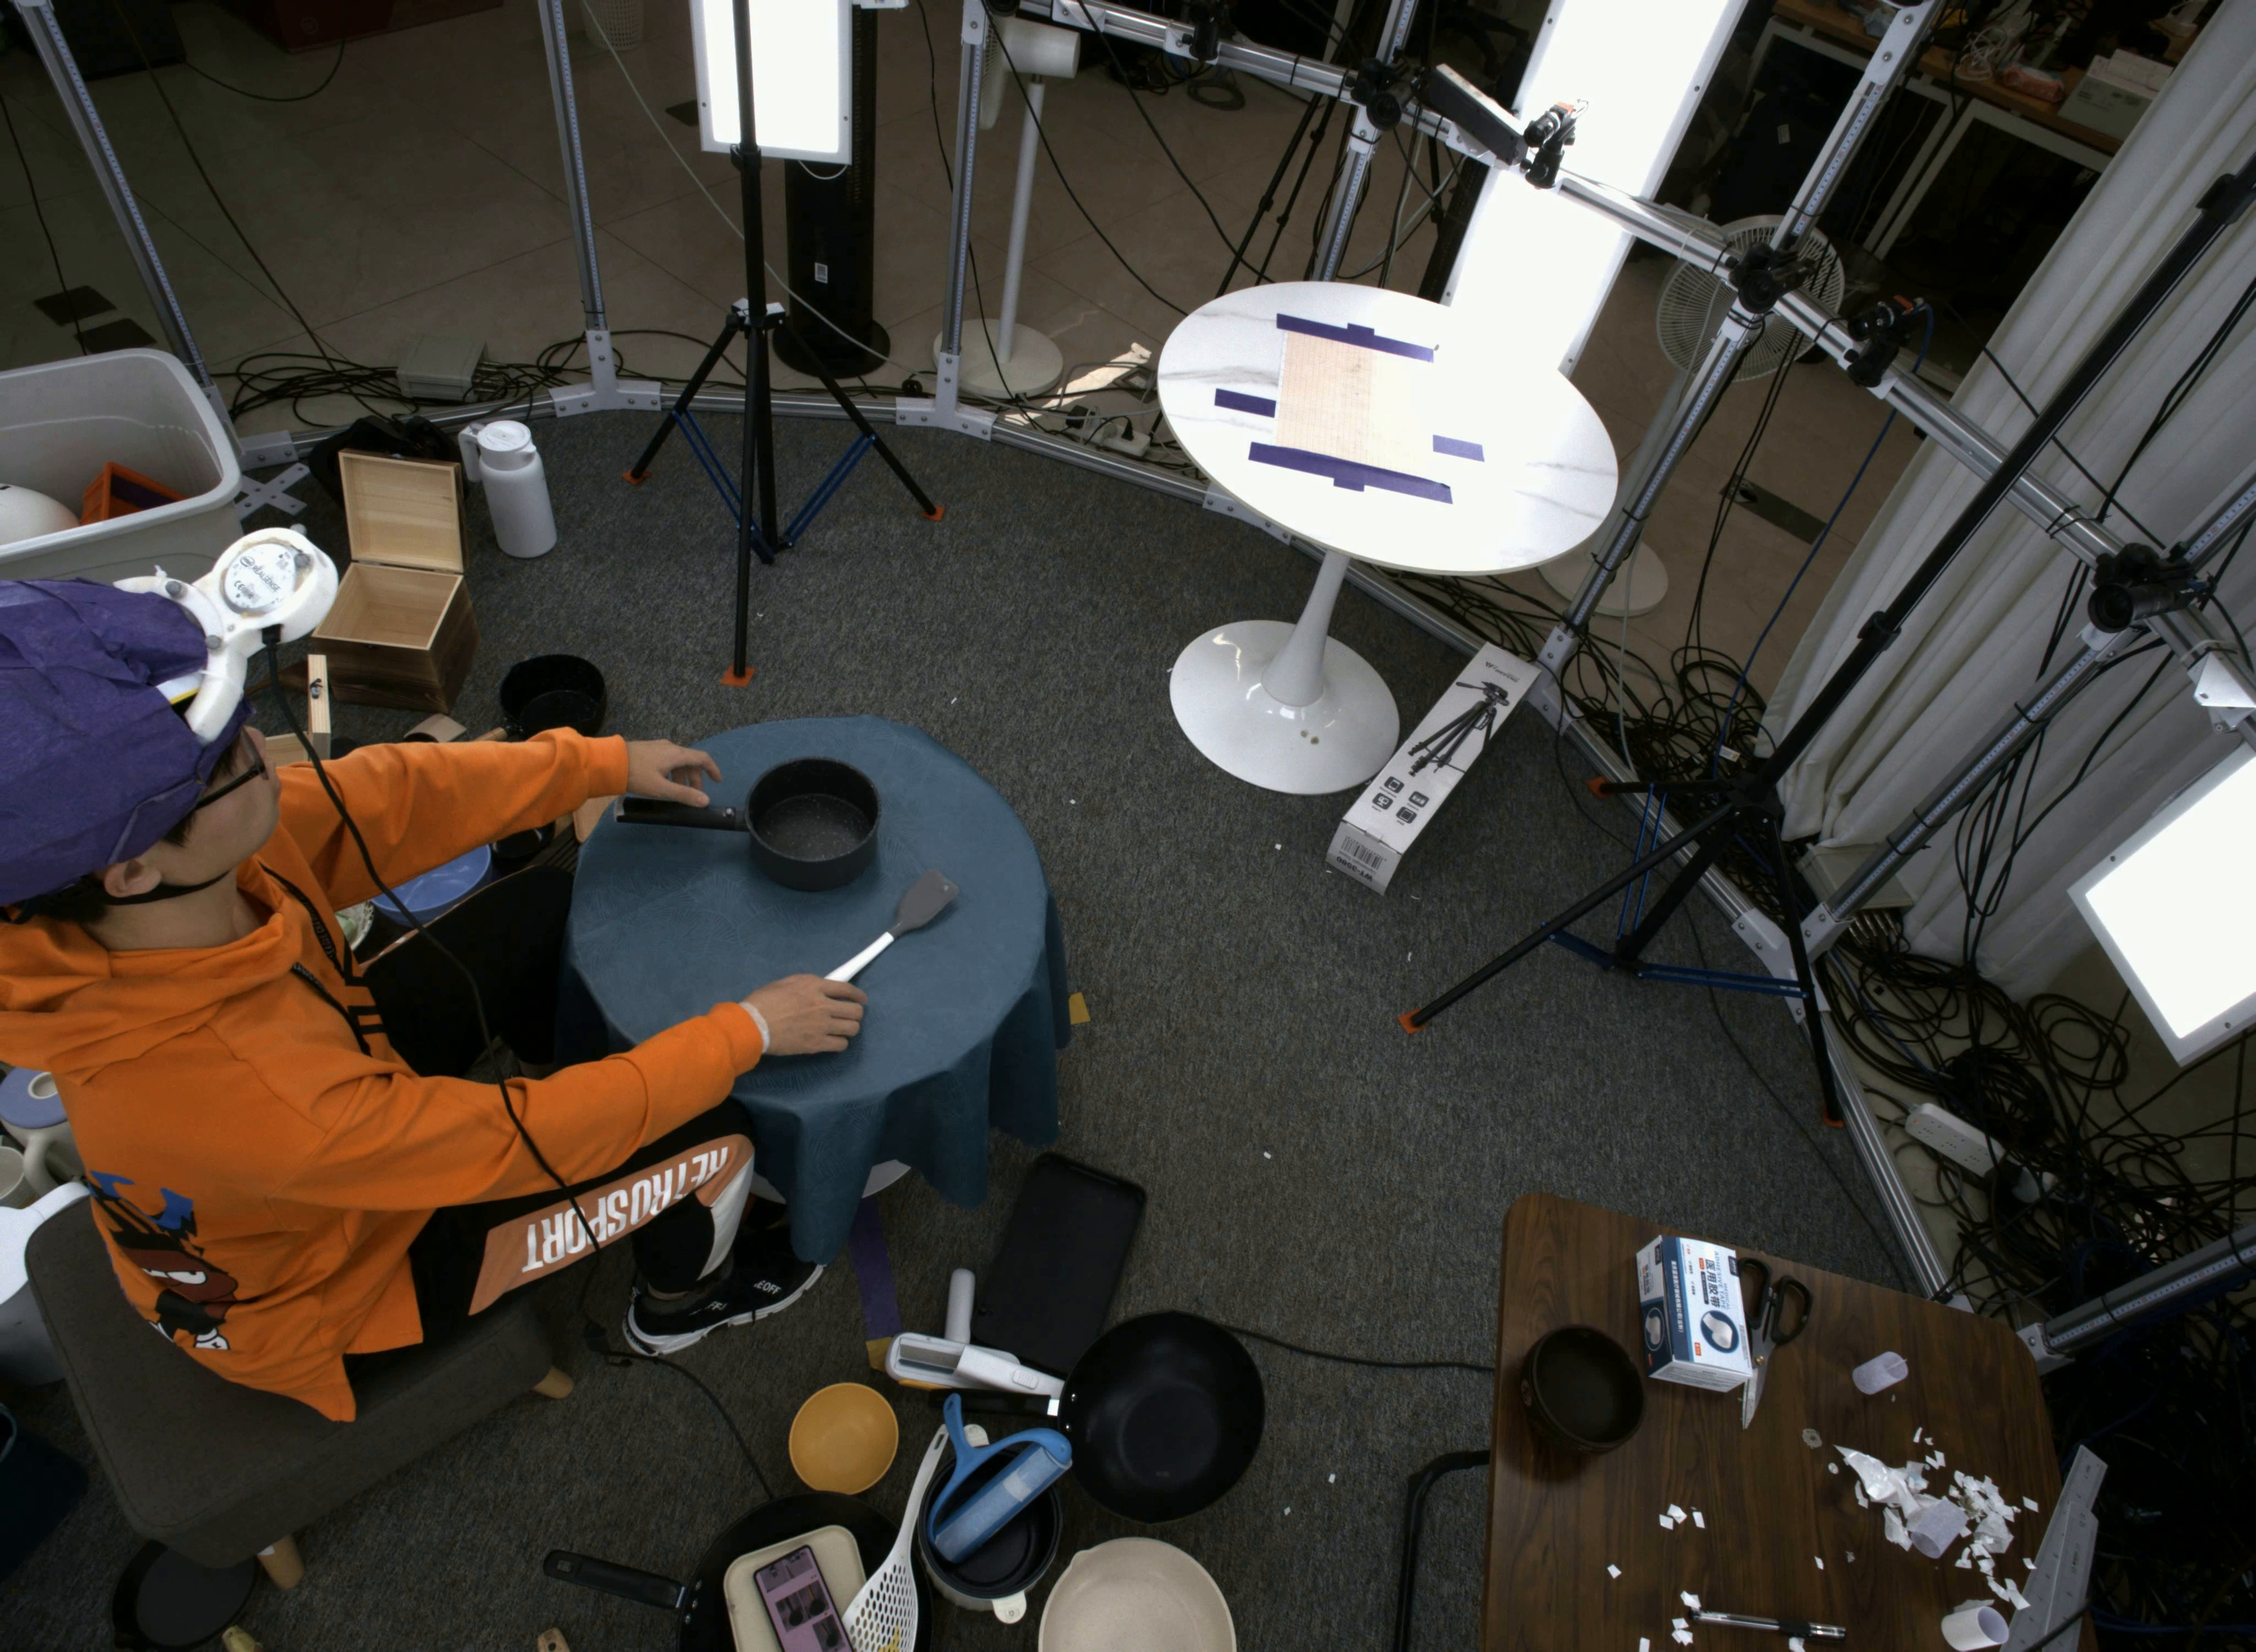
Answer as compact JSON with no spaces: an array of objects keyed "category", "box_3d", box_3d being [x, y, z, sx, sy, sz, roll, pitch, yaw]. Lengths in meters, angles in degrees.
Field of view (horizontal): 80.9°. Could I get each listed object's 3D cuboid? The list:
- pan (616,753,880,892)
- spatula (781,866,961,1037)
[{"category":"pan","box_3d":[-0.483,-0.006,1.648,0.330,0.088,0.168,2,52,-16]},{"category":"spatula","box_3d":[-0.317,0.151,1.609,0.057,0.033,0.287,33,53,15]}]
